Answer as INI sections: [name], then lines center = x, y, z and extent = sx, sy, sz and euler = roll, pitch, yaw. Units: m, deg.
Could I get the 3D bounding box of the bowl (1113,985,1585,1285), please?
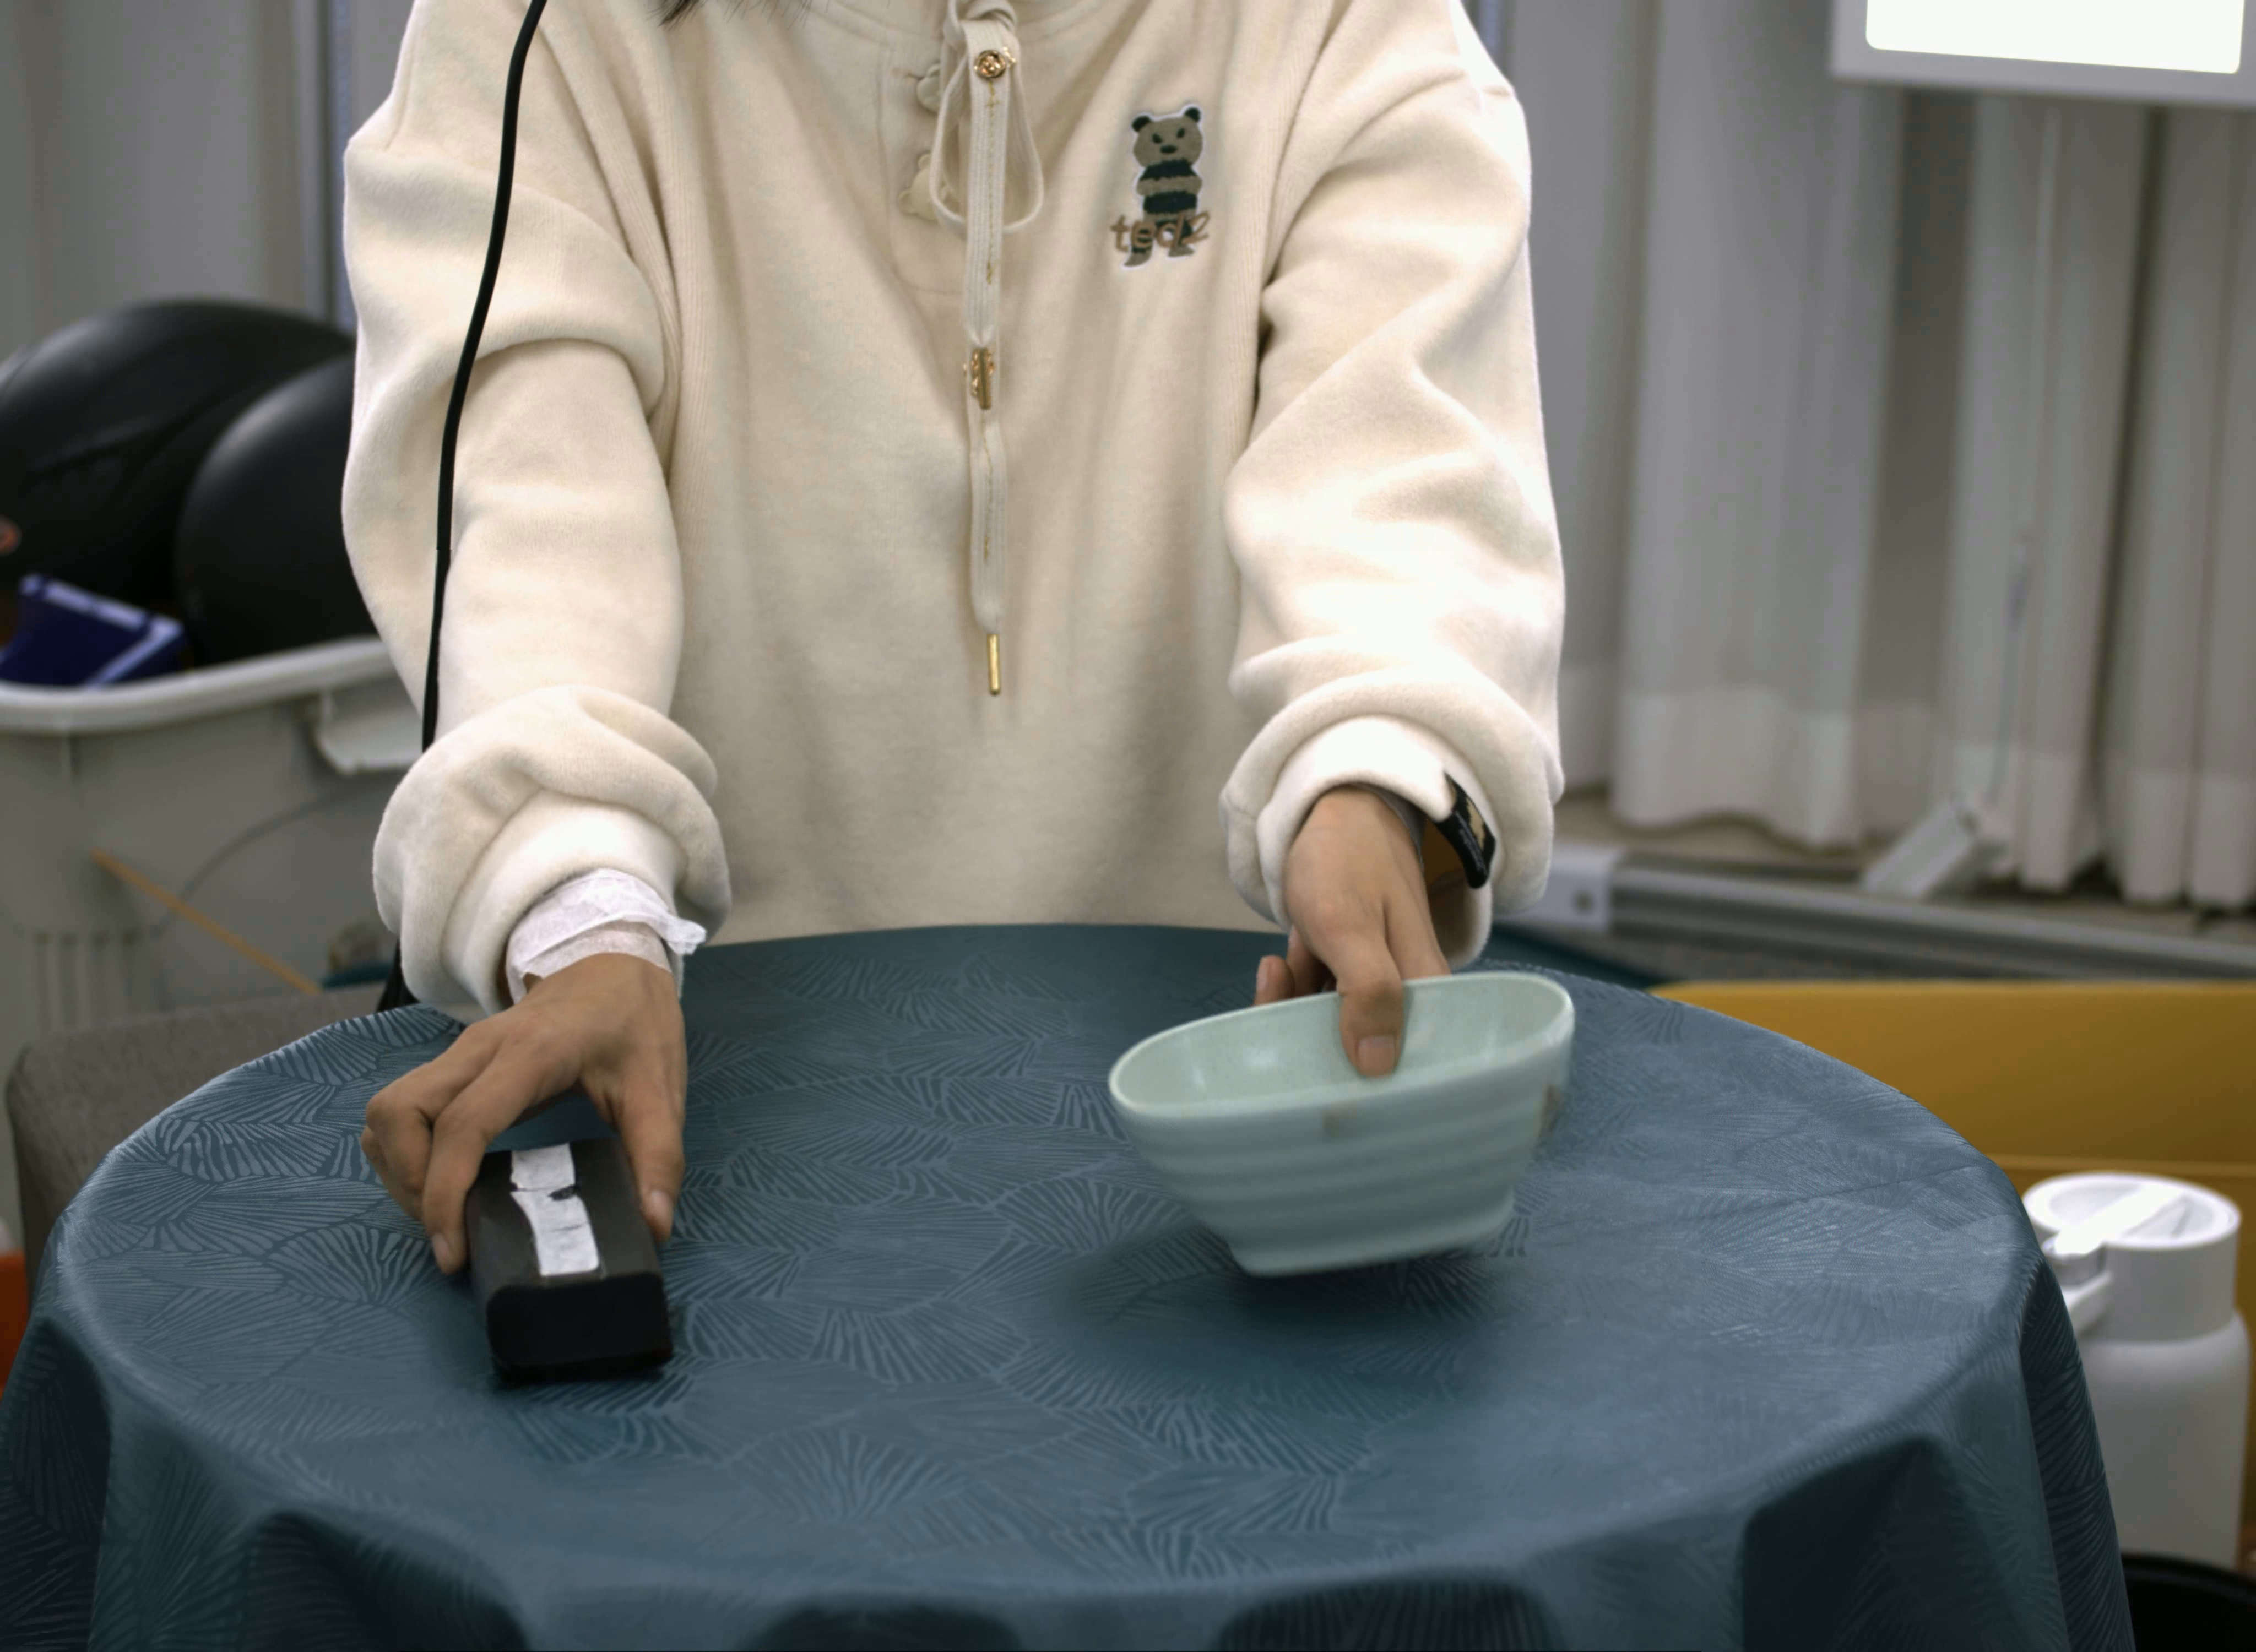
[bowl]
center = 0.067, 0.093, 1.546
extent = 0.151, 0.059, 0.151
euler = -6, 13, 2

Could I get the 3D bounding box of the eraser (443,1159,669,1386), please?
[eraser]
center = -0.165, 0.127, 1.511
extent = 0.053, 0.031, 0.124
euler = -5, 14, -11
